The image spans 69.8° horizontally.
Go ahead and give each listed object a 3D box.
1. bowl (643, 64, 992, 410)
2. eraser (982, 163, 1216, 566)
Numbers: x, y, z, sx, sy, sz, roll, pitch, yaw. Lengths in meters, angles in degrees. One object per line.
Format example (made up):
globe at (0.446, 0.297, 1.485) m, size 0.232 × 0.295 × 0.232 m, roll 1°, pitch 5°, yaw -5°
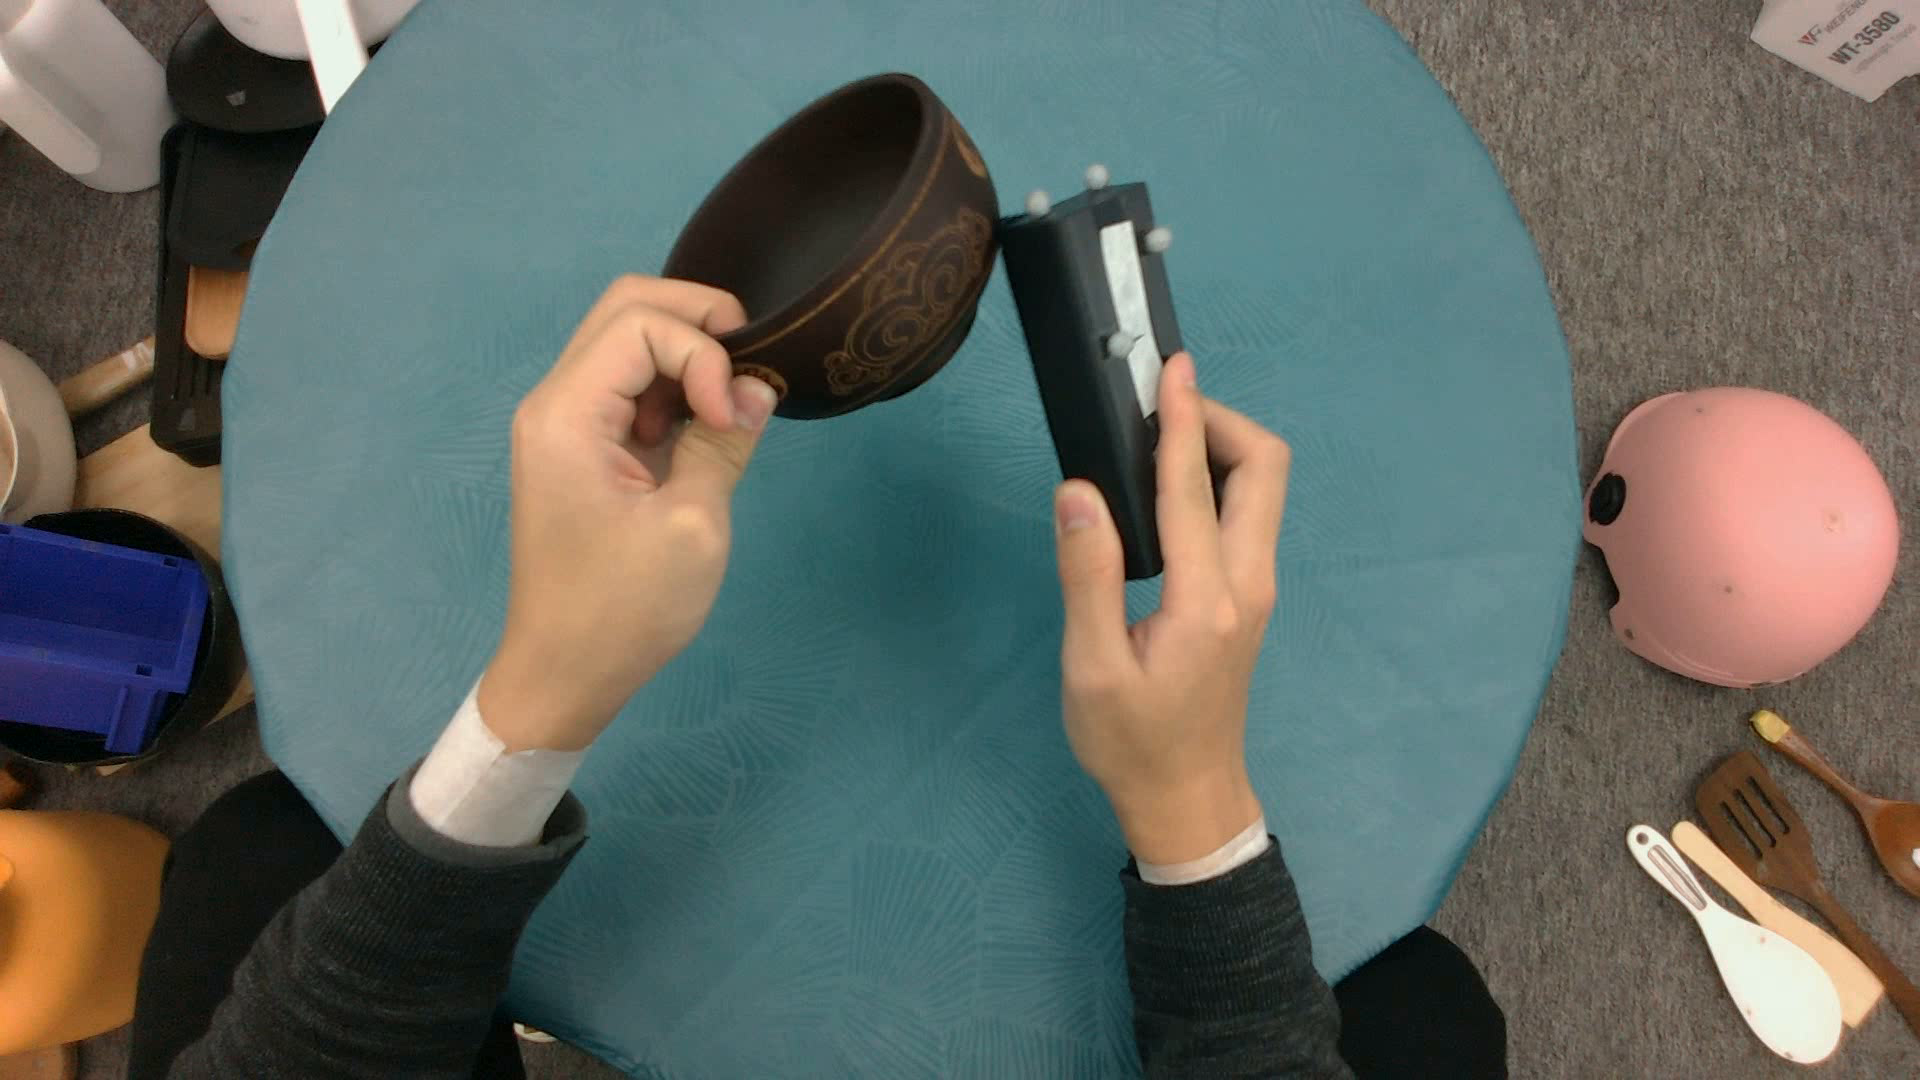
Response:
bowl at (-0.040, -0.093, 0.462) m, size 0.117 × 0.070 × 0.118 m, roll -21°, pitch 46°, yaw 24°
eraser at (0.049, -0.058, 0.464) m, size 0.054 × 0.030 × 0.125 m, roll -34°, pitch 115°, yaw -38°
